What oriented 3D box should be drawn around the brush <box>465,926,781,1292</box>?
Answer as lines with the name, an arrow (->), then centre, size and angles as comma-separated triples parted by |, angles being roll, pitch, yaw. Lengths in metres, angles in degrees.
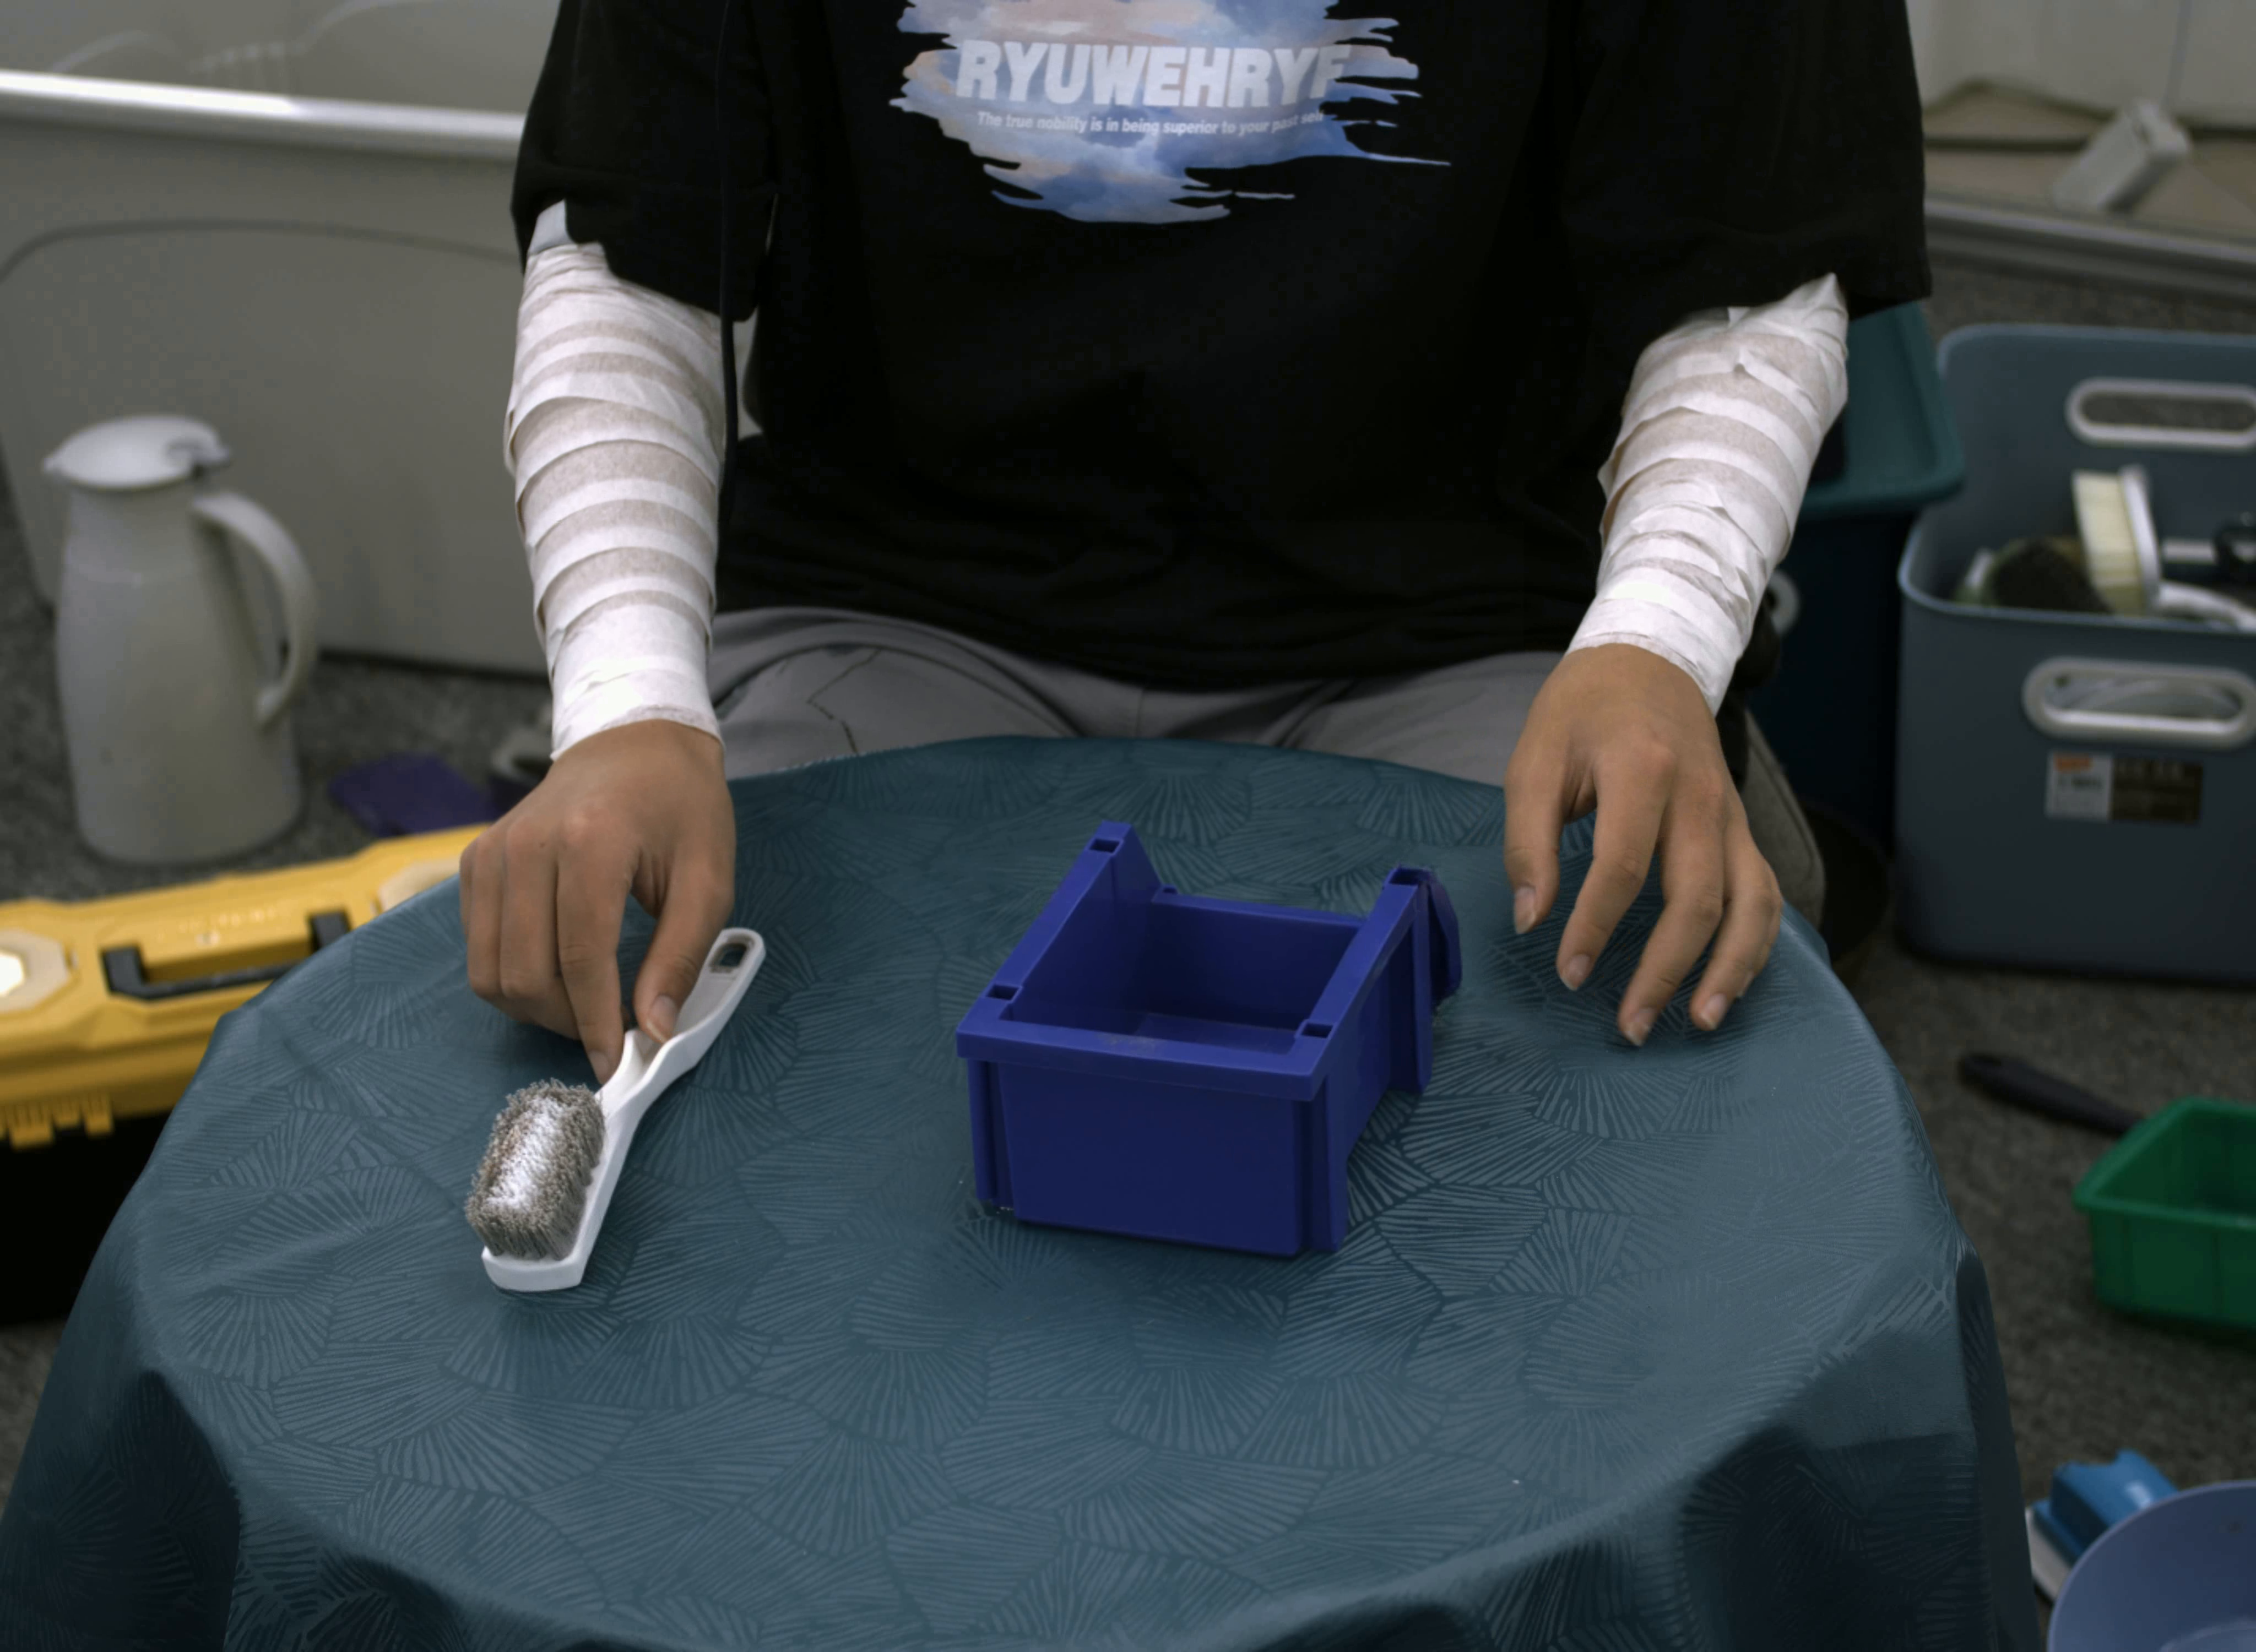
brush -> -0.168, 0.079, 1.907 | 0.034, 0.050, 0.248 | 3, 28, 16

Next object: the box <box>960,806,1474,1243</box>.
box -> 0.031, 0.061, 1.888 | 0.123, 0.081, 0.182 | 6, 30, 19
